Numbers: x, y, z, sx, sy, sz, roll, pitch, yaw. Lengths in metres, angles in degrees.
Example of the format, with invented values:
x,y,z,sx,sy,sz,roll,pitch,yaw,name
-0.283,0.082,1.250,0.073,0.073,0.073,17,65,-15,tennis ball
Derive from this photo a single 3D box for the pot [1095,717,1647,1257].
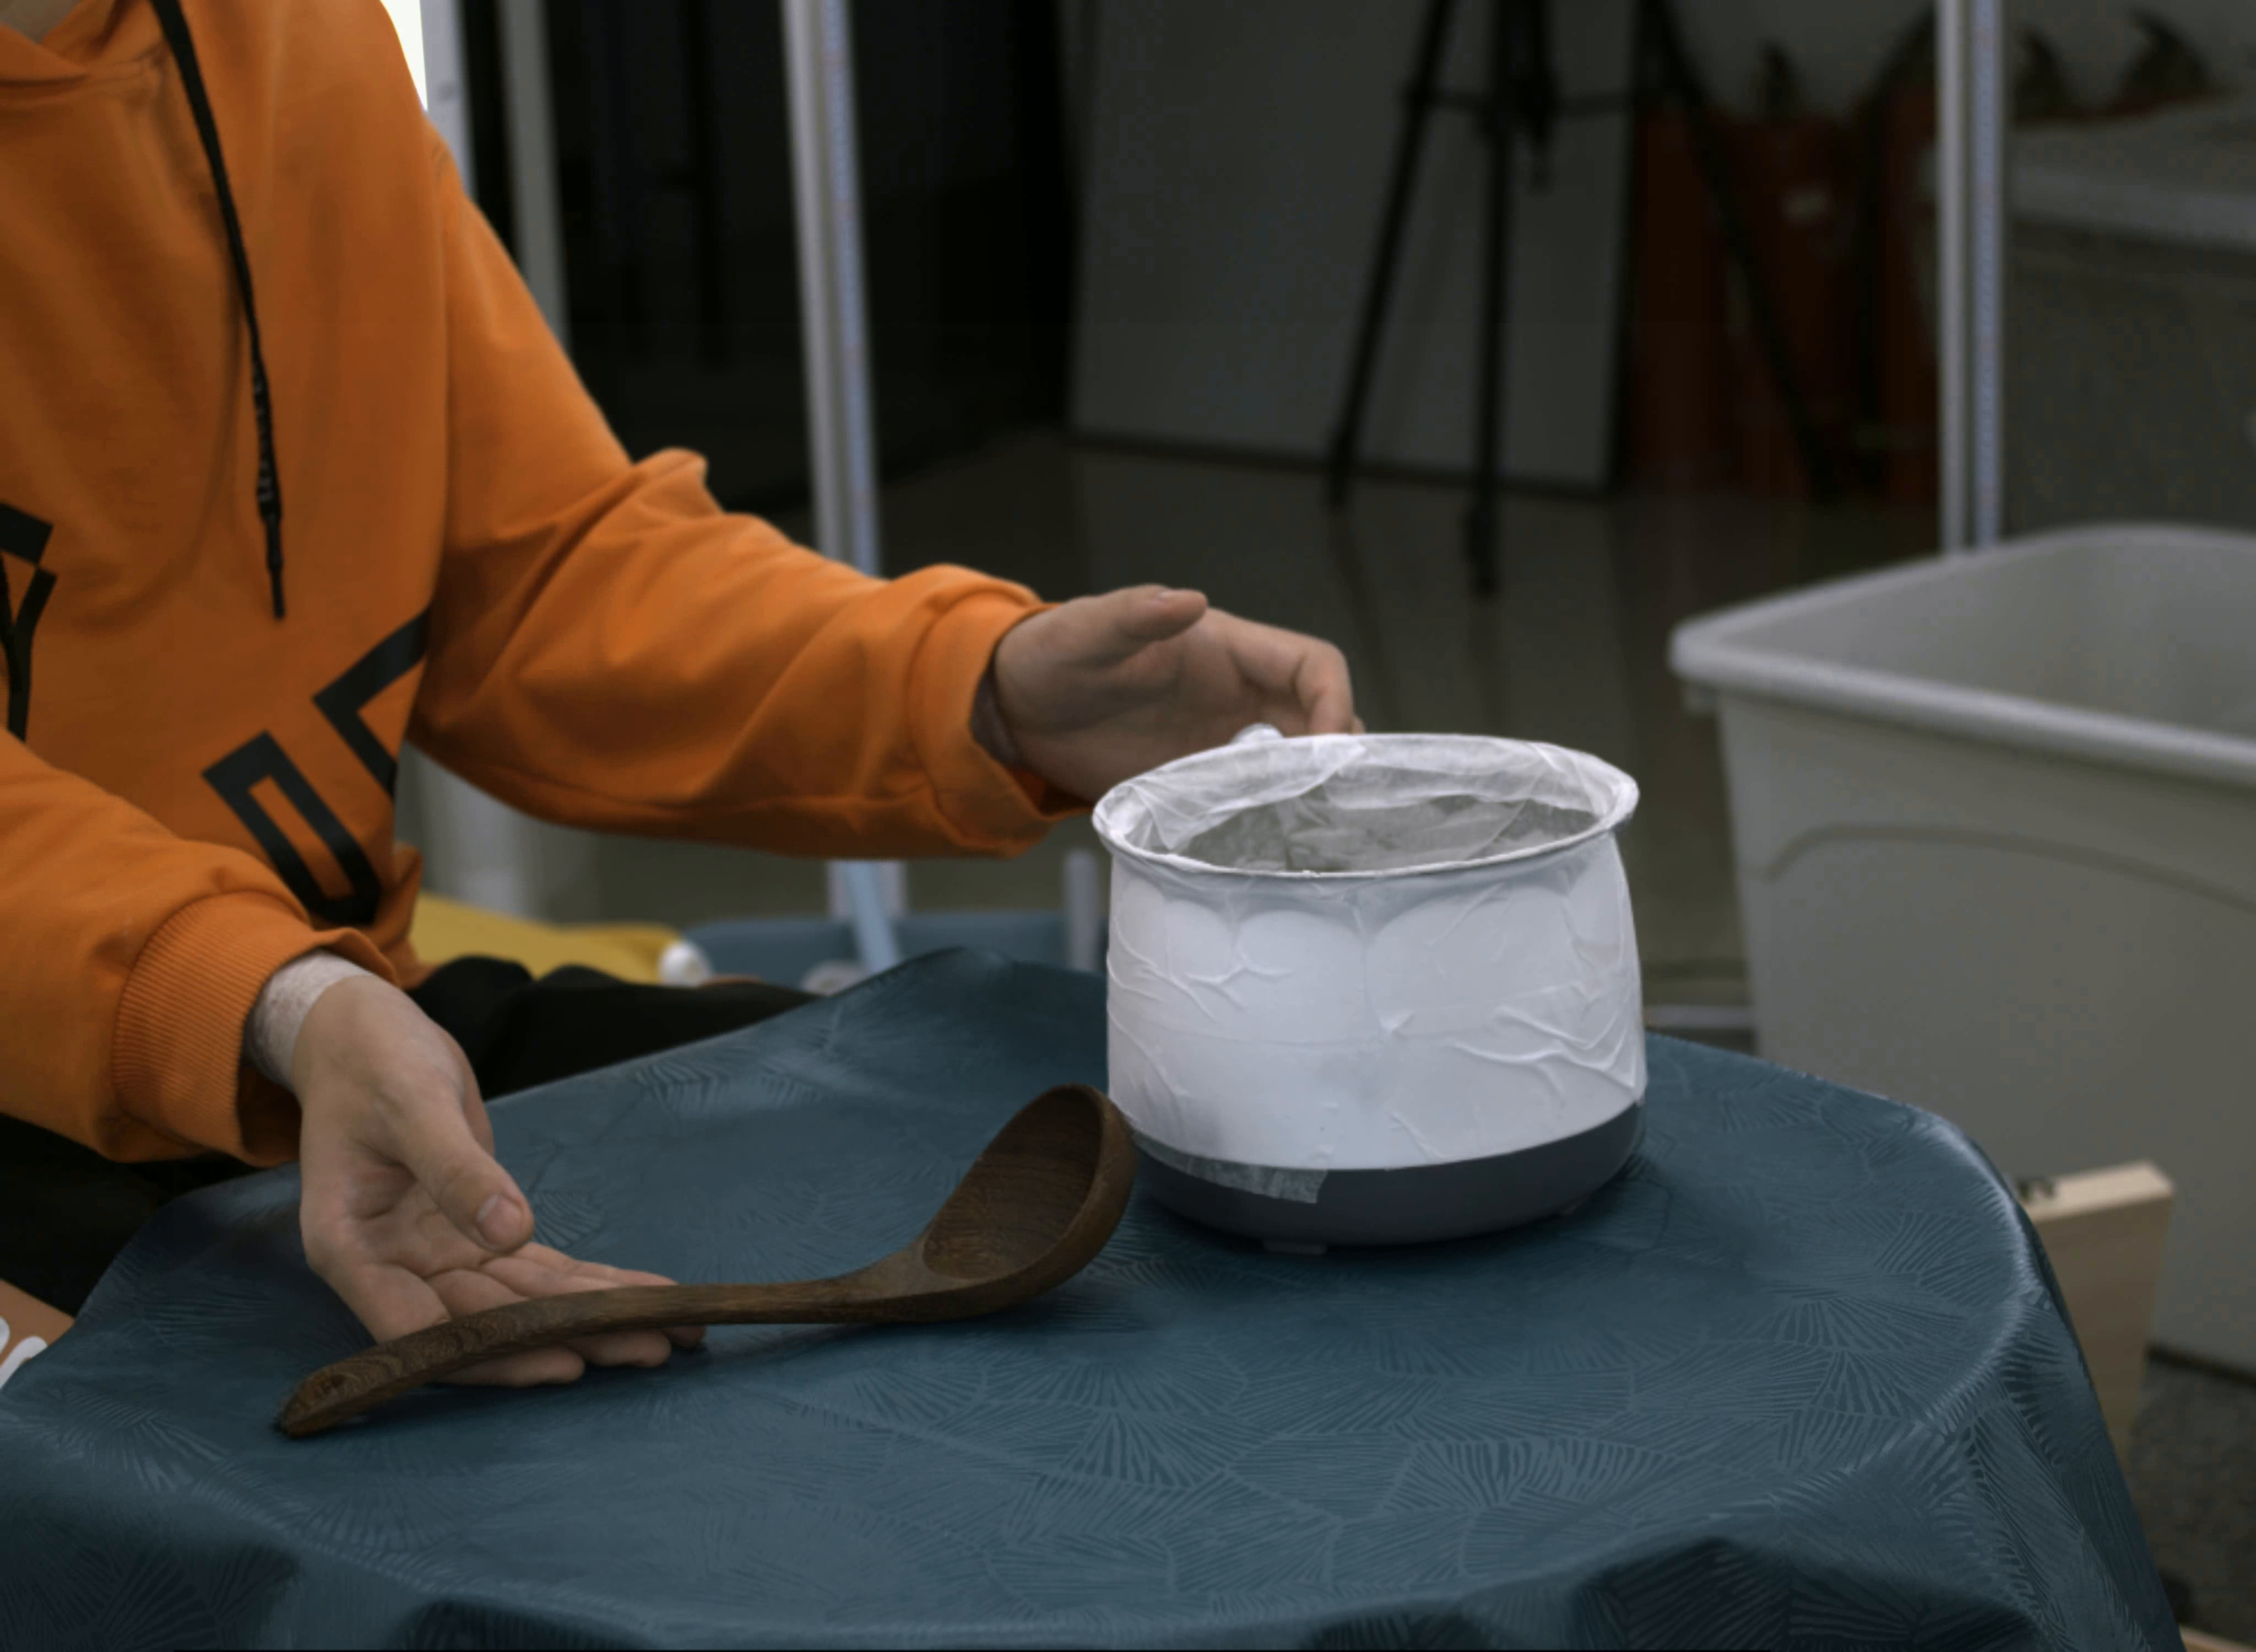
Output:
x,y,z,sx,sy,sz,roll,pitch,yaw,name
0.070,0.046,1.765,0.175,0.138,0.236,-8,15,-18,pot

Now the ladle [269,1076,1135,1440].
x,y,z,sx,sy,sz,roll,pitch,yaw,name
-0.127,0.128,1.632,0.268,0.072,0.077,-8,13,-18,ladle
